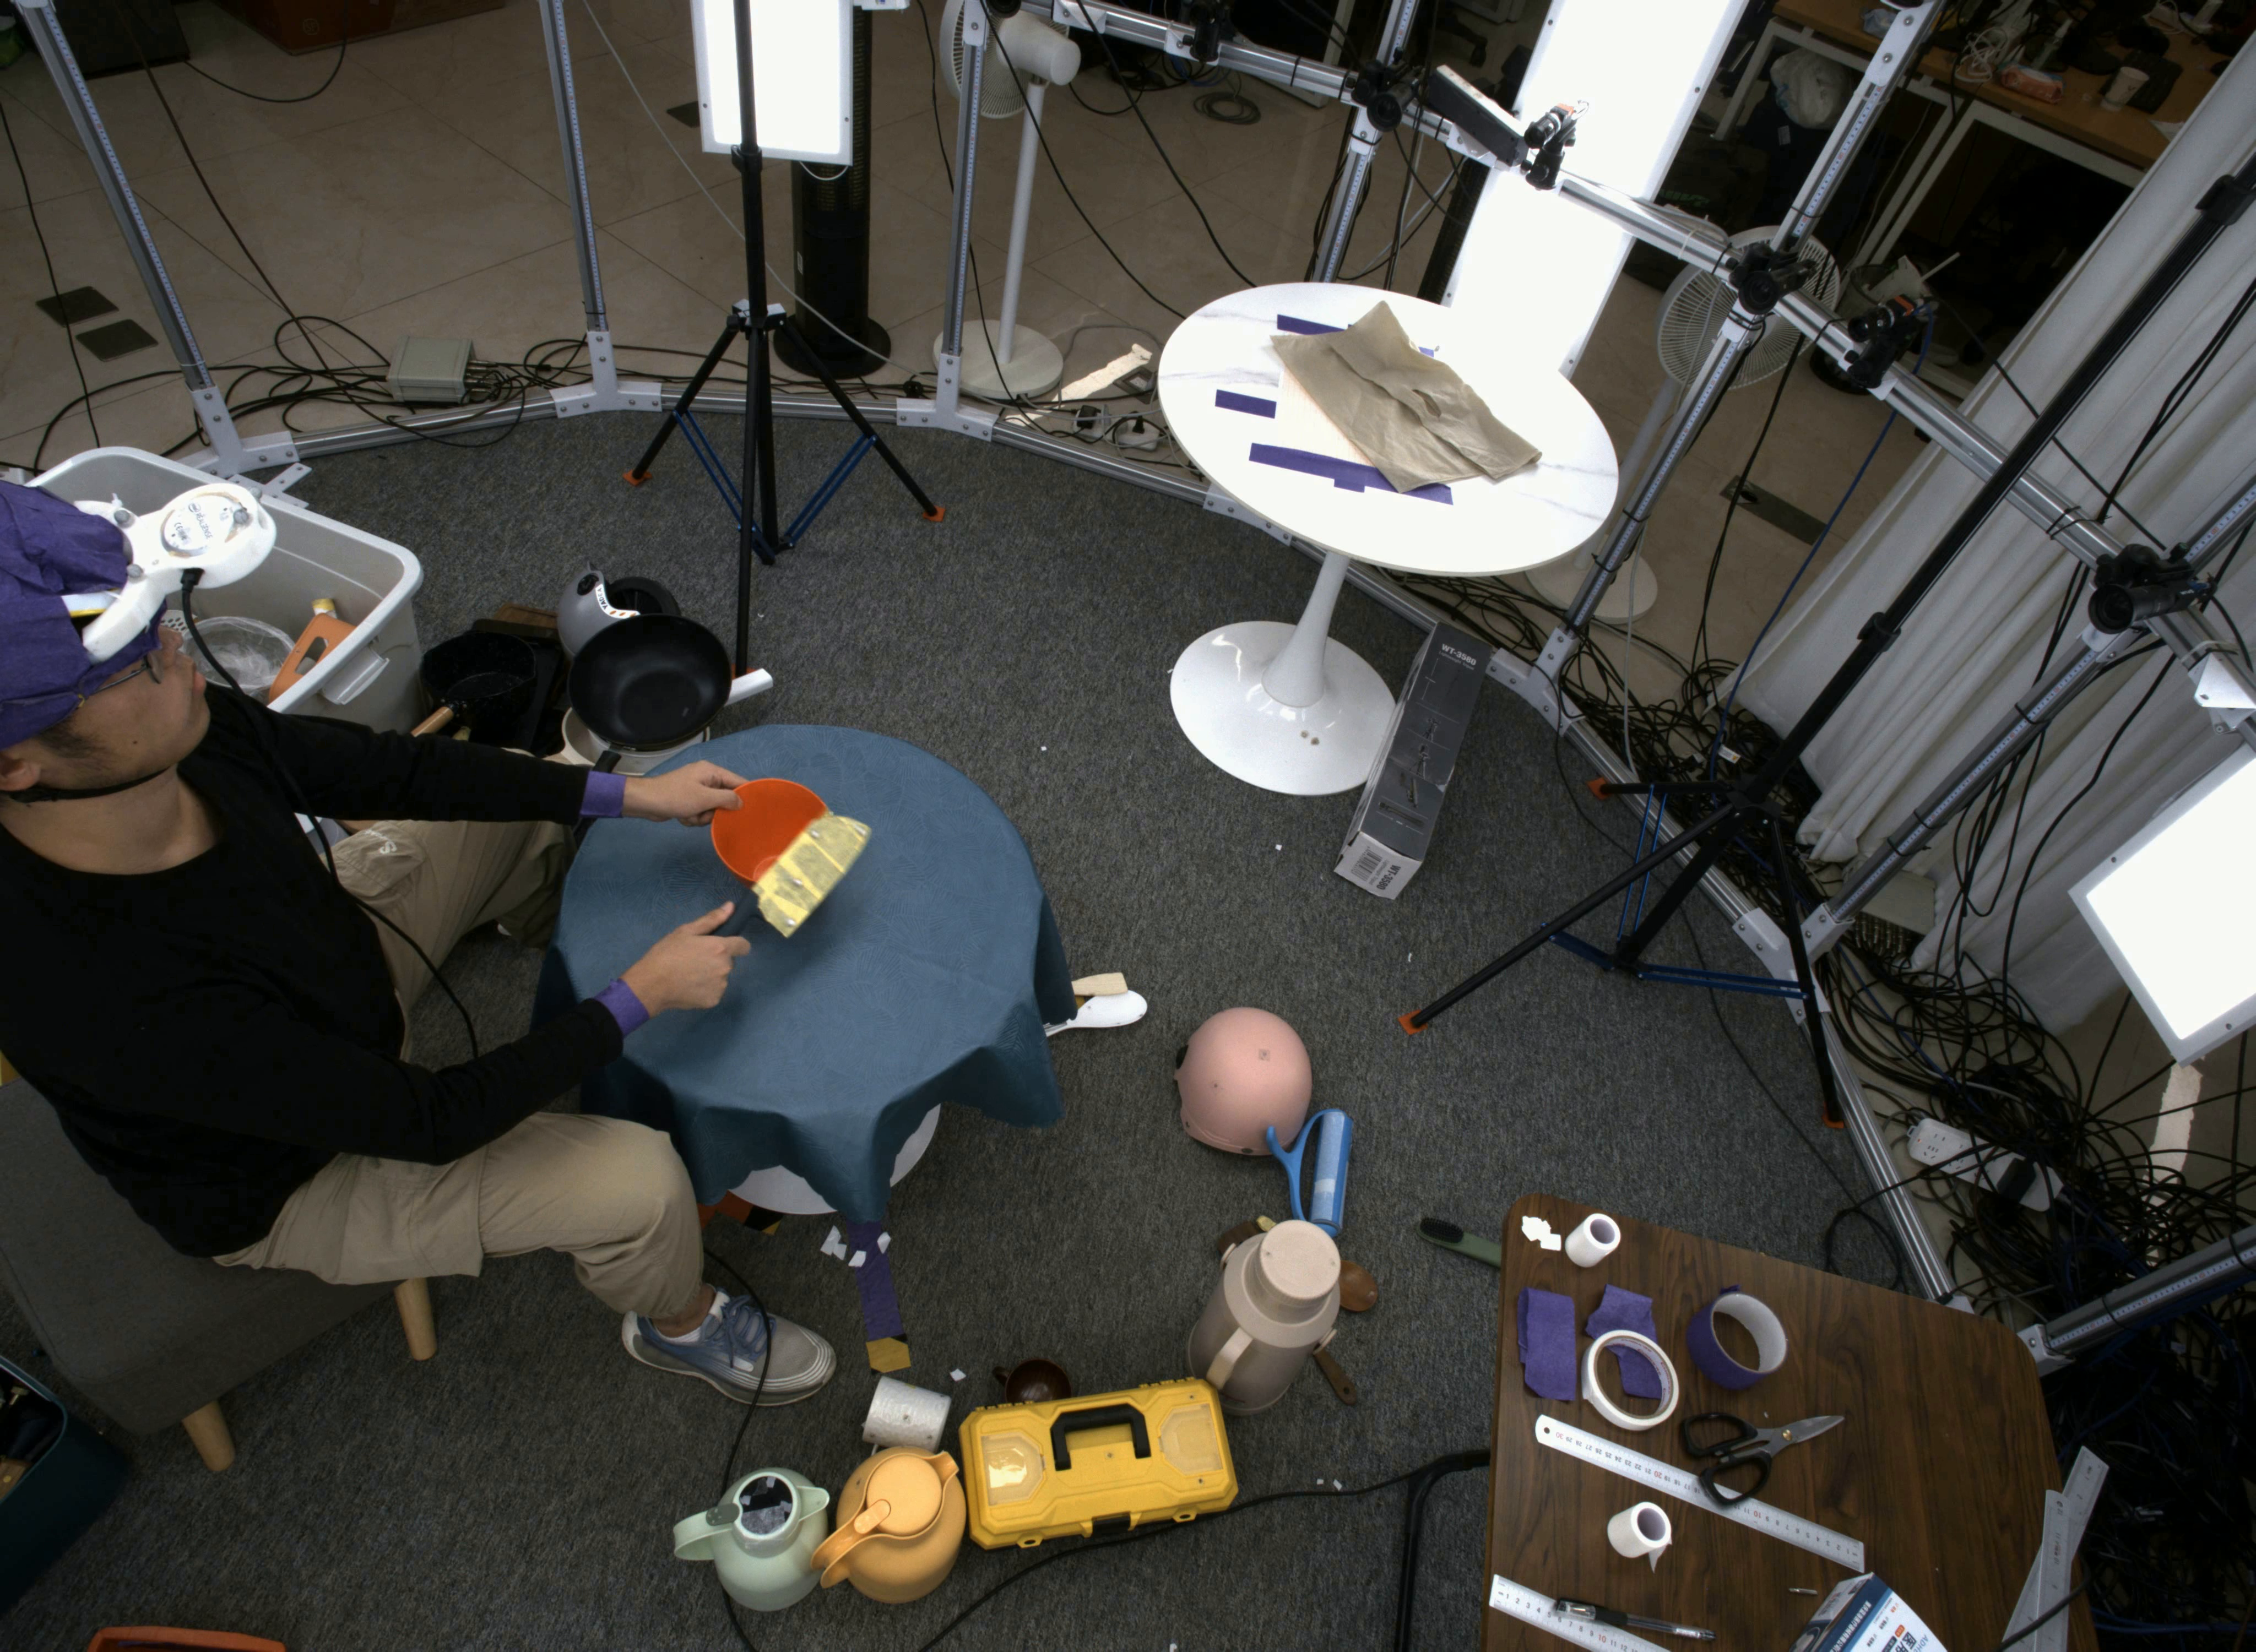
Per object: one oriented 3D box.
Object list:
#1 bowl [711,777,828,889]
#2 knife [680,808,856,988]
[{"bbox_3d":[-0.446,0.028,1.631,0.148,0.106,0.145,8,53,-9],"label":"bowl"},{"bbox_3d":[-0.423,0.086,1.544,0.083,0.026,0.289,49,64,-20],"label":"knife"}]
